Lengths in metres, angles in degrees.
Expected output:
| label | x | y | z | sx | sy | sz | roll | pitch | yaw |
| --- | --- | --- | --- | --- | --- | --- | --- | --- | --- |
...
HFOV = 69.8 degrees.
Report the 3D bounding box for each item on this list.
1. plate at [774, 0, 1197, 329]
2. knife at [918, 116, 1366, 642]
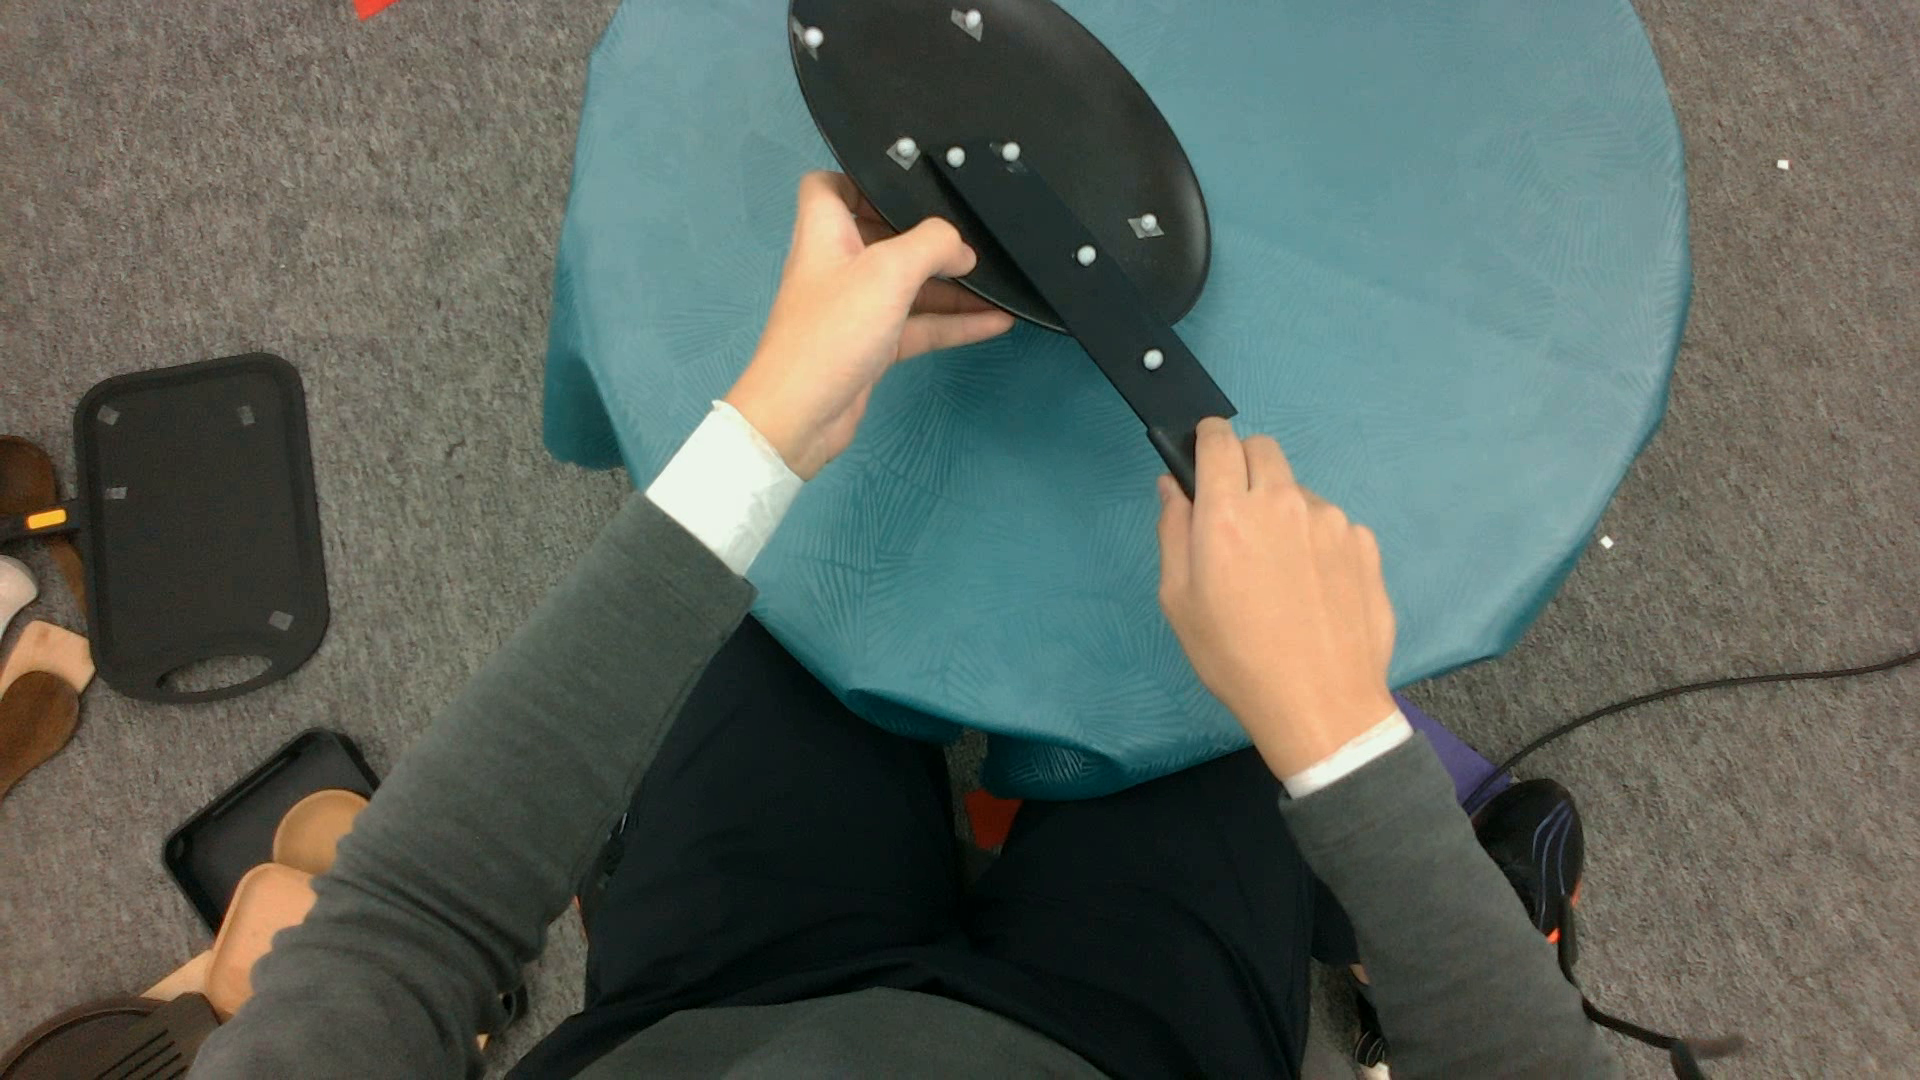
| label | x | y | z | sx | sy | sz | roll | pitch | yaw |
| --- | --- | --- | --- | --- | --- | --- | --- | --- | --- |
| plate | 0.016 | -0.199 | 0.671 | 0.244 | 0.023 | 0.245 | 20 | 51 | -26 |
| knife | 0.085 | -0.080 | 0.626 | 0.081 | 0.021 | 0.302 | -21 | 72 | -43 |
